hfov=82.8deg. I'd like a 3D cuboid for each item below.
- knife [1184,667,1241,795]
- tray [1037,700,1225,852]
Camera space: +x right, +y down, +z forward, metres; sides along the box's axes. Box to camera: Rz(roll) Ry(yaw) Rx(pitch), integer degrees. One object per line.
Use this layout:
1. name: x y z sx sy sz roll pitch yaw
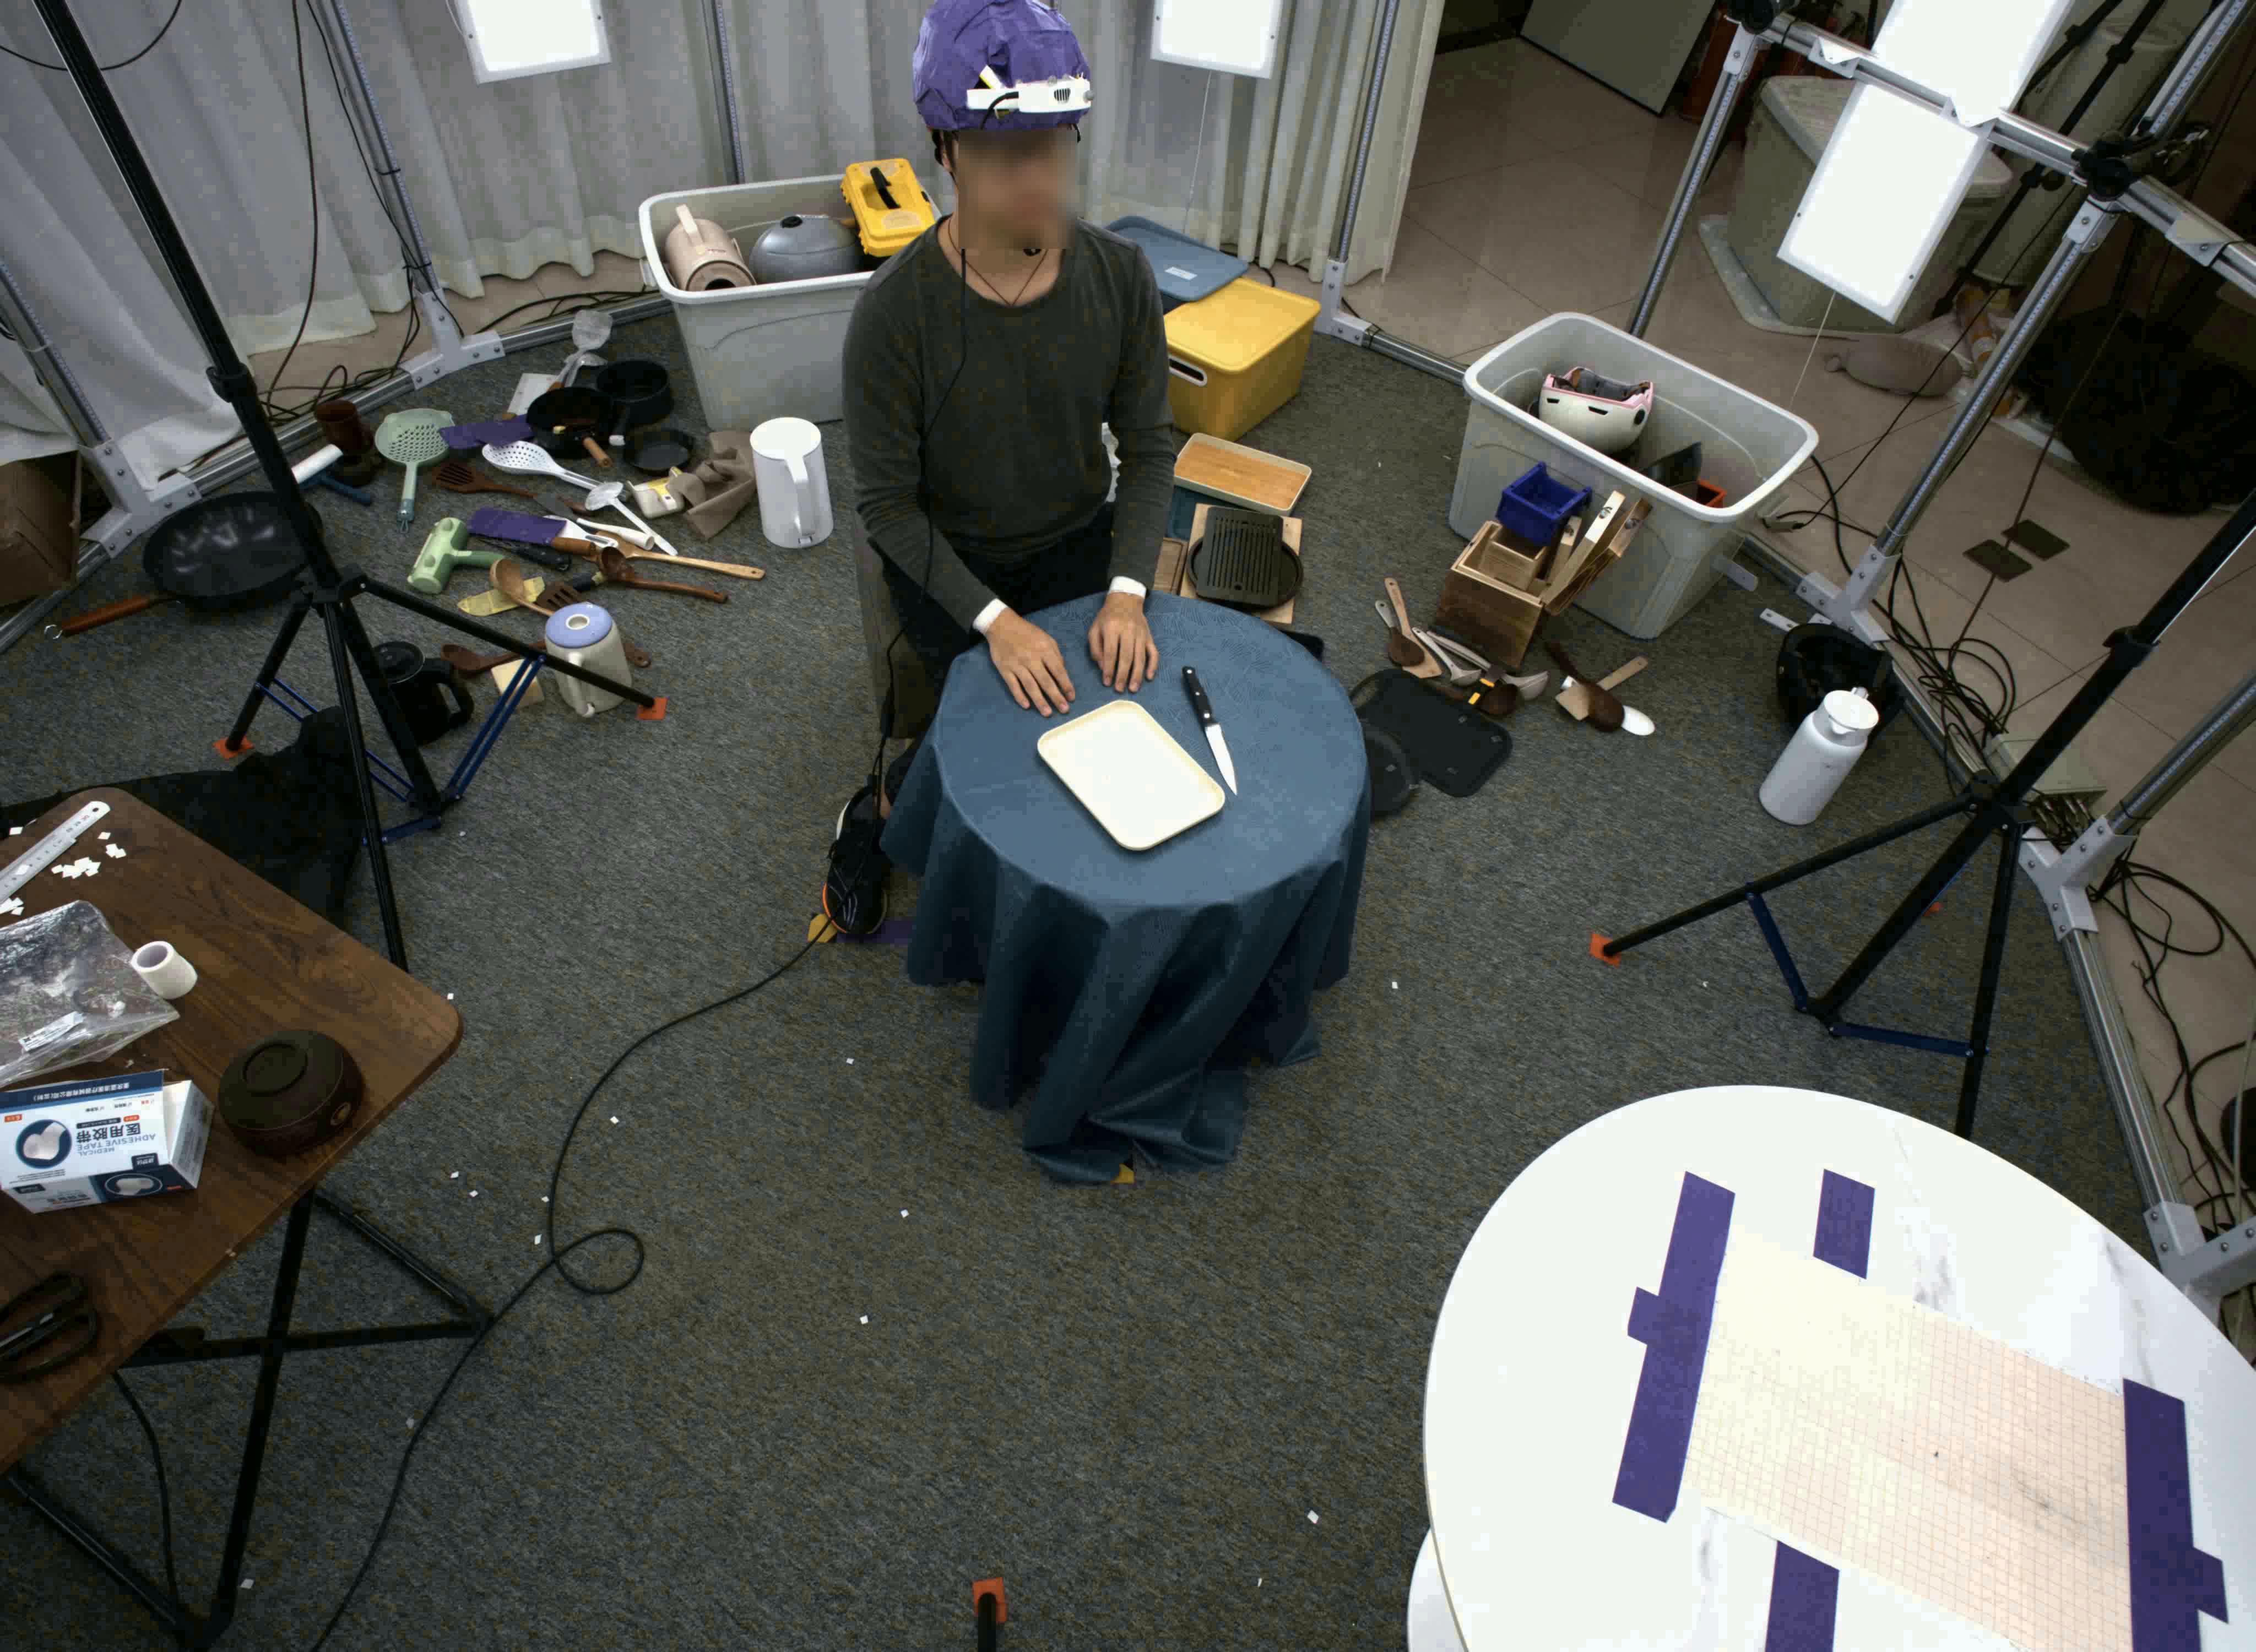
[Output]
1. knife: 0.117 -0.134 1.784 0.024 0.016 0.244 -11 53 -10
2. tray: 0.002 -0.070 1.716 0.172 0.017 0.244 -27 56 -24
